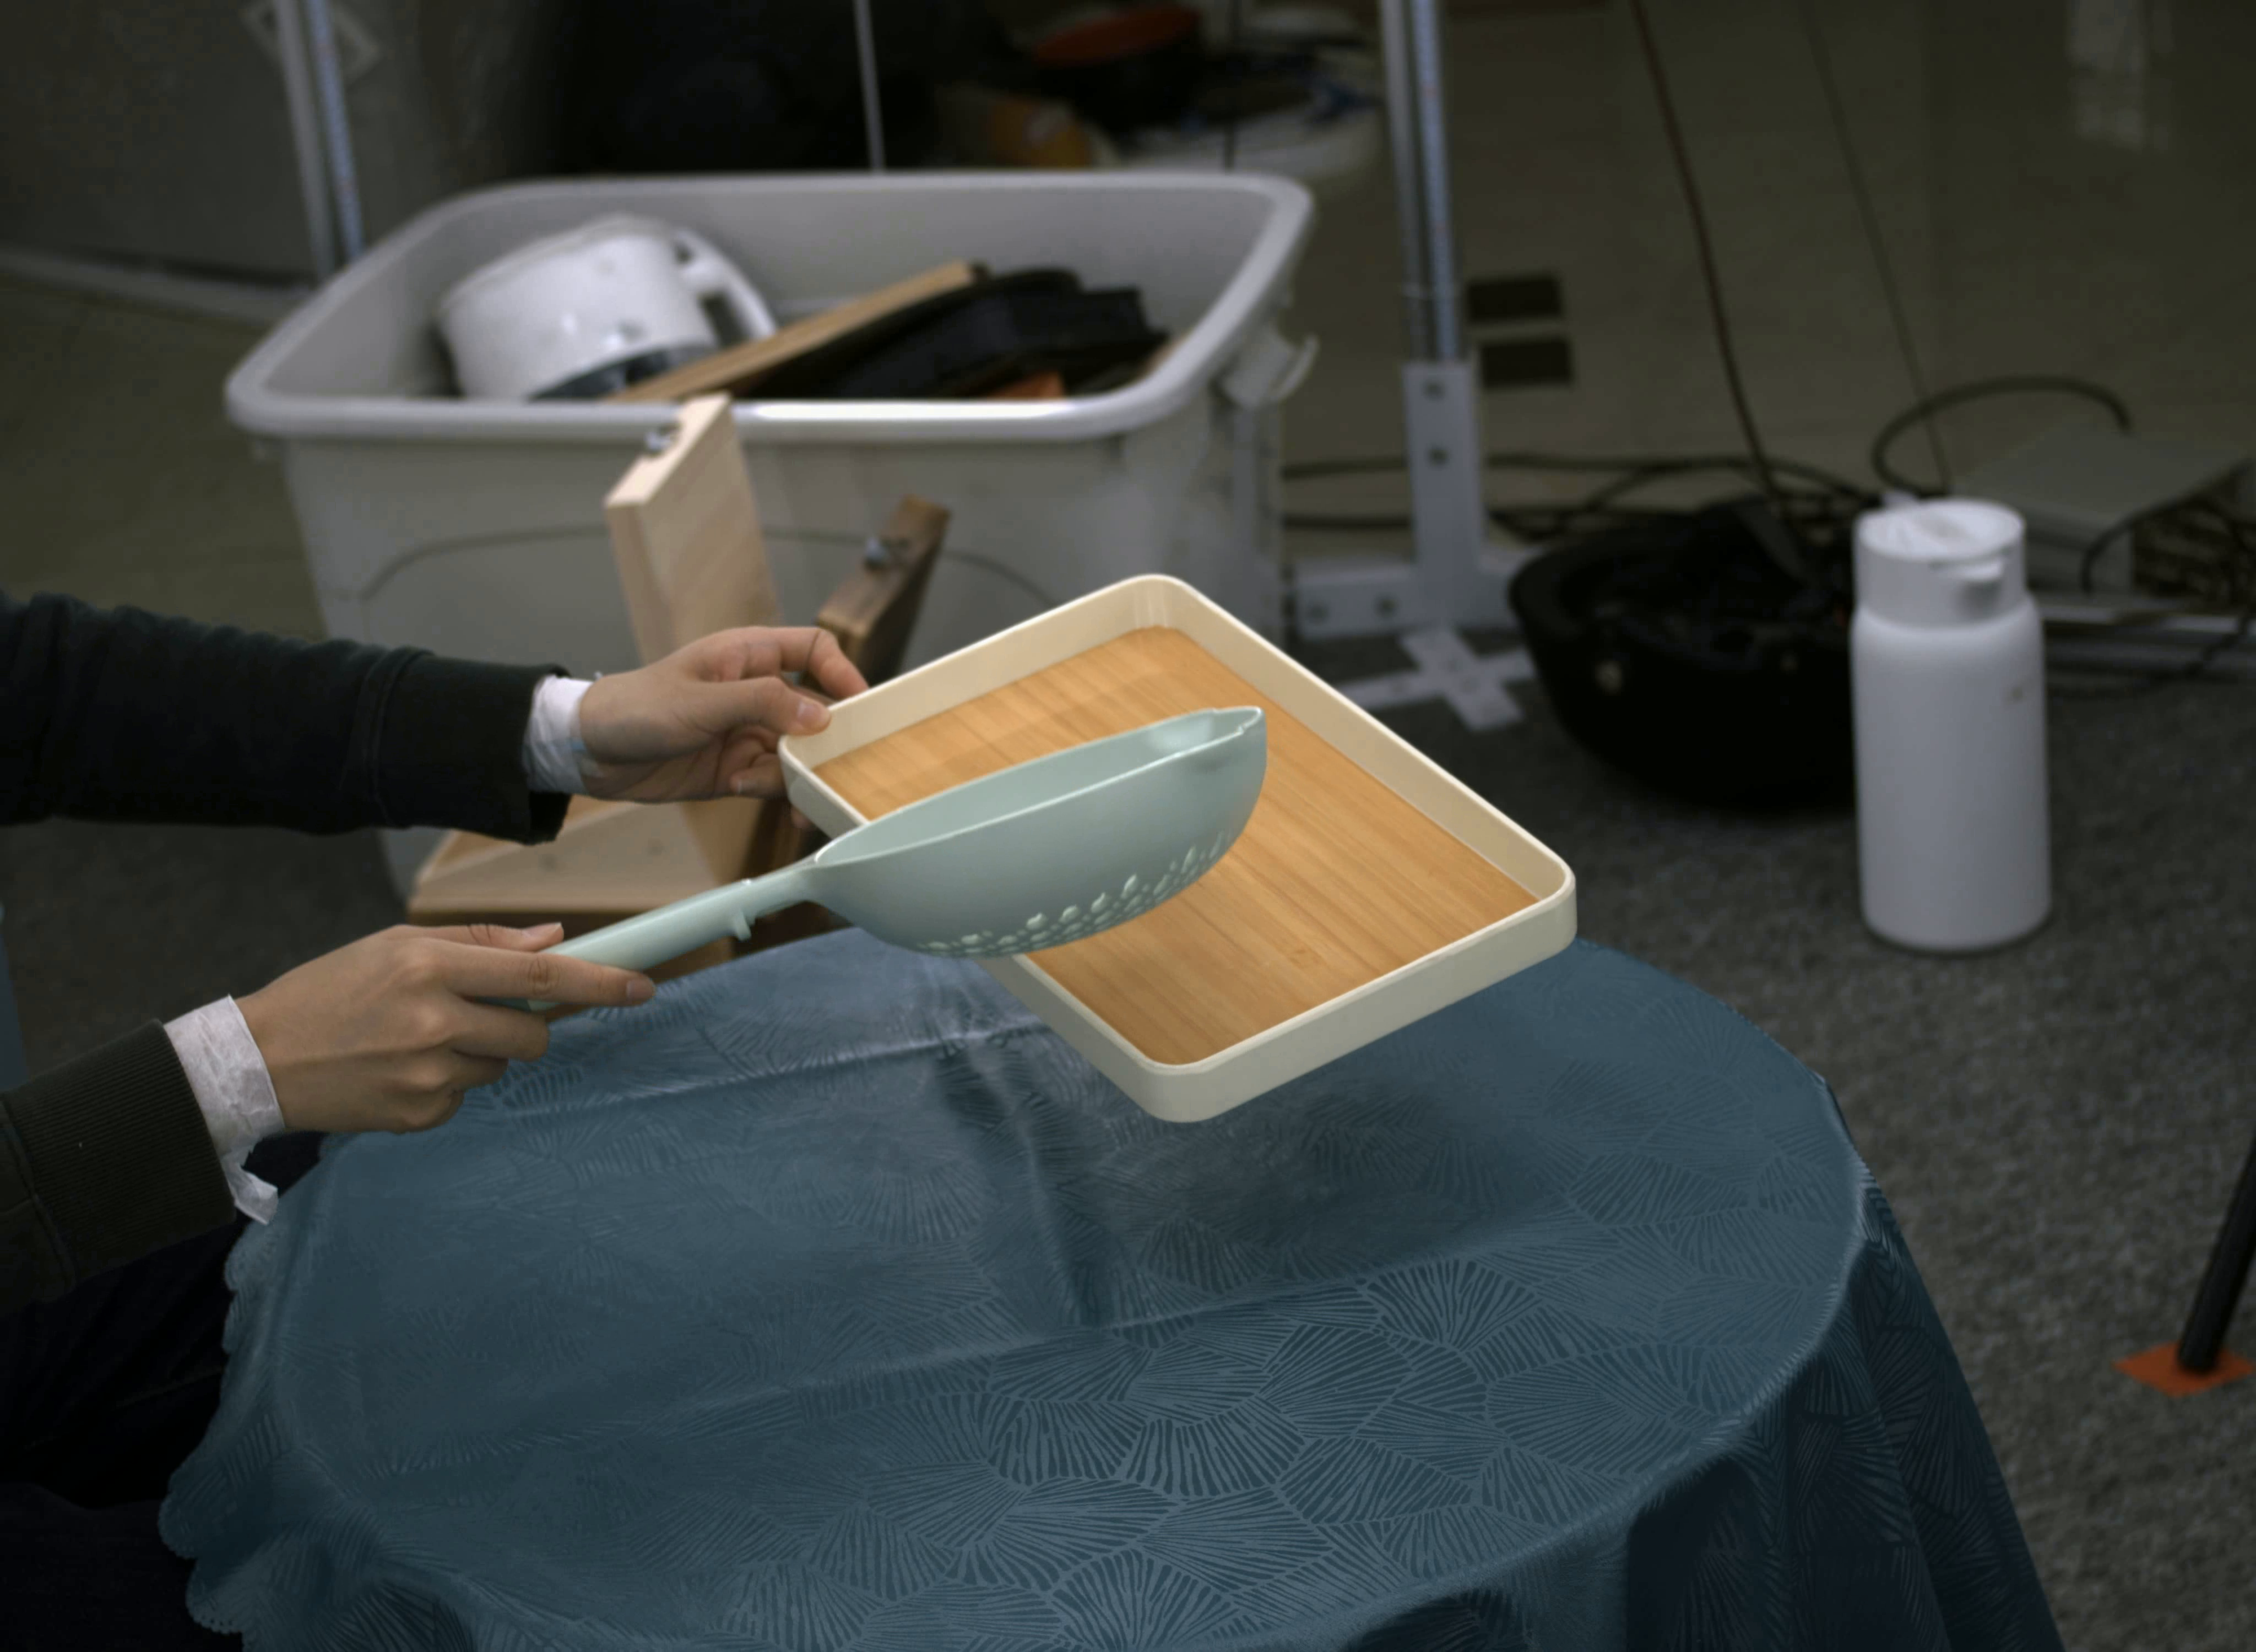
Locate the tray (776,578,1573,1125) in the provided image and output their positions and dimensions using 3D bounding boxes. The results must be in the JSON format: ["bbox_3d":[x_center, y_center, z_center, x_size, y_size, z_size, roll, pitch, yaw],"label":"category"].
[{"bbox_3d":[0.014,0.004,2.165,0.190,0.028,0.296,-24,38,-23],"label":"tray"}]

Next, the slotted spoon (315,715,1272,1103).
[{"bbox_3d":[-0.119,0.029,2.019,0.358,0.076,0.169,-10,5,-3],"label":"slotted spoon"}]
